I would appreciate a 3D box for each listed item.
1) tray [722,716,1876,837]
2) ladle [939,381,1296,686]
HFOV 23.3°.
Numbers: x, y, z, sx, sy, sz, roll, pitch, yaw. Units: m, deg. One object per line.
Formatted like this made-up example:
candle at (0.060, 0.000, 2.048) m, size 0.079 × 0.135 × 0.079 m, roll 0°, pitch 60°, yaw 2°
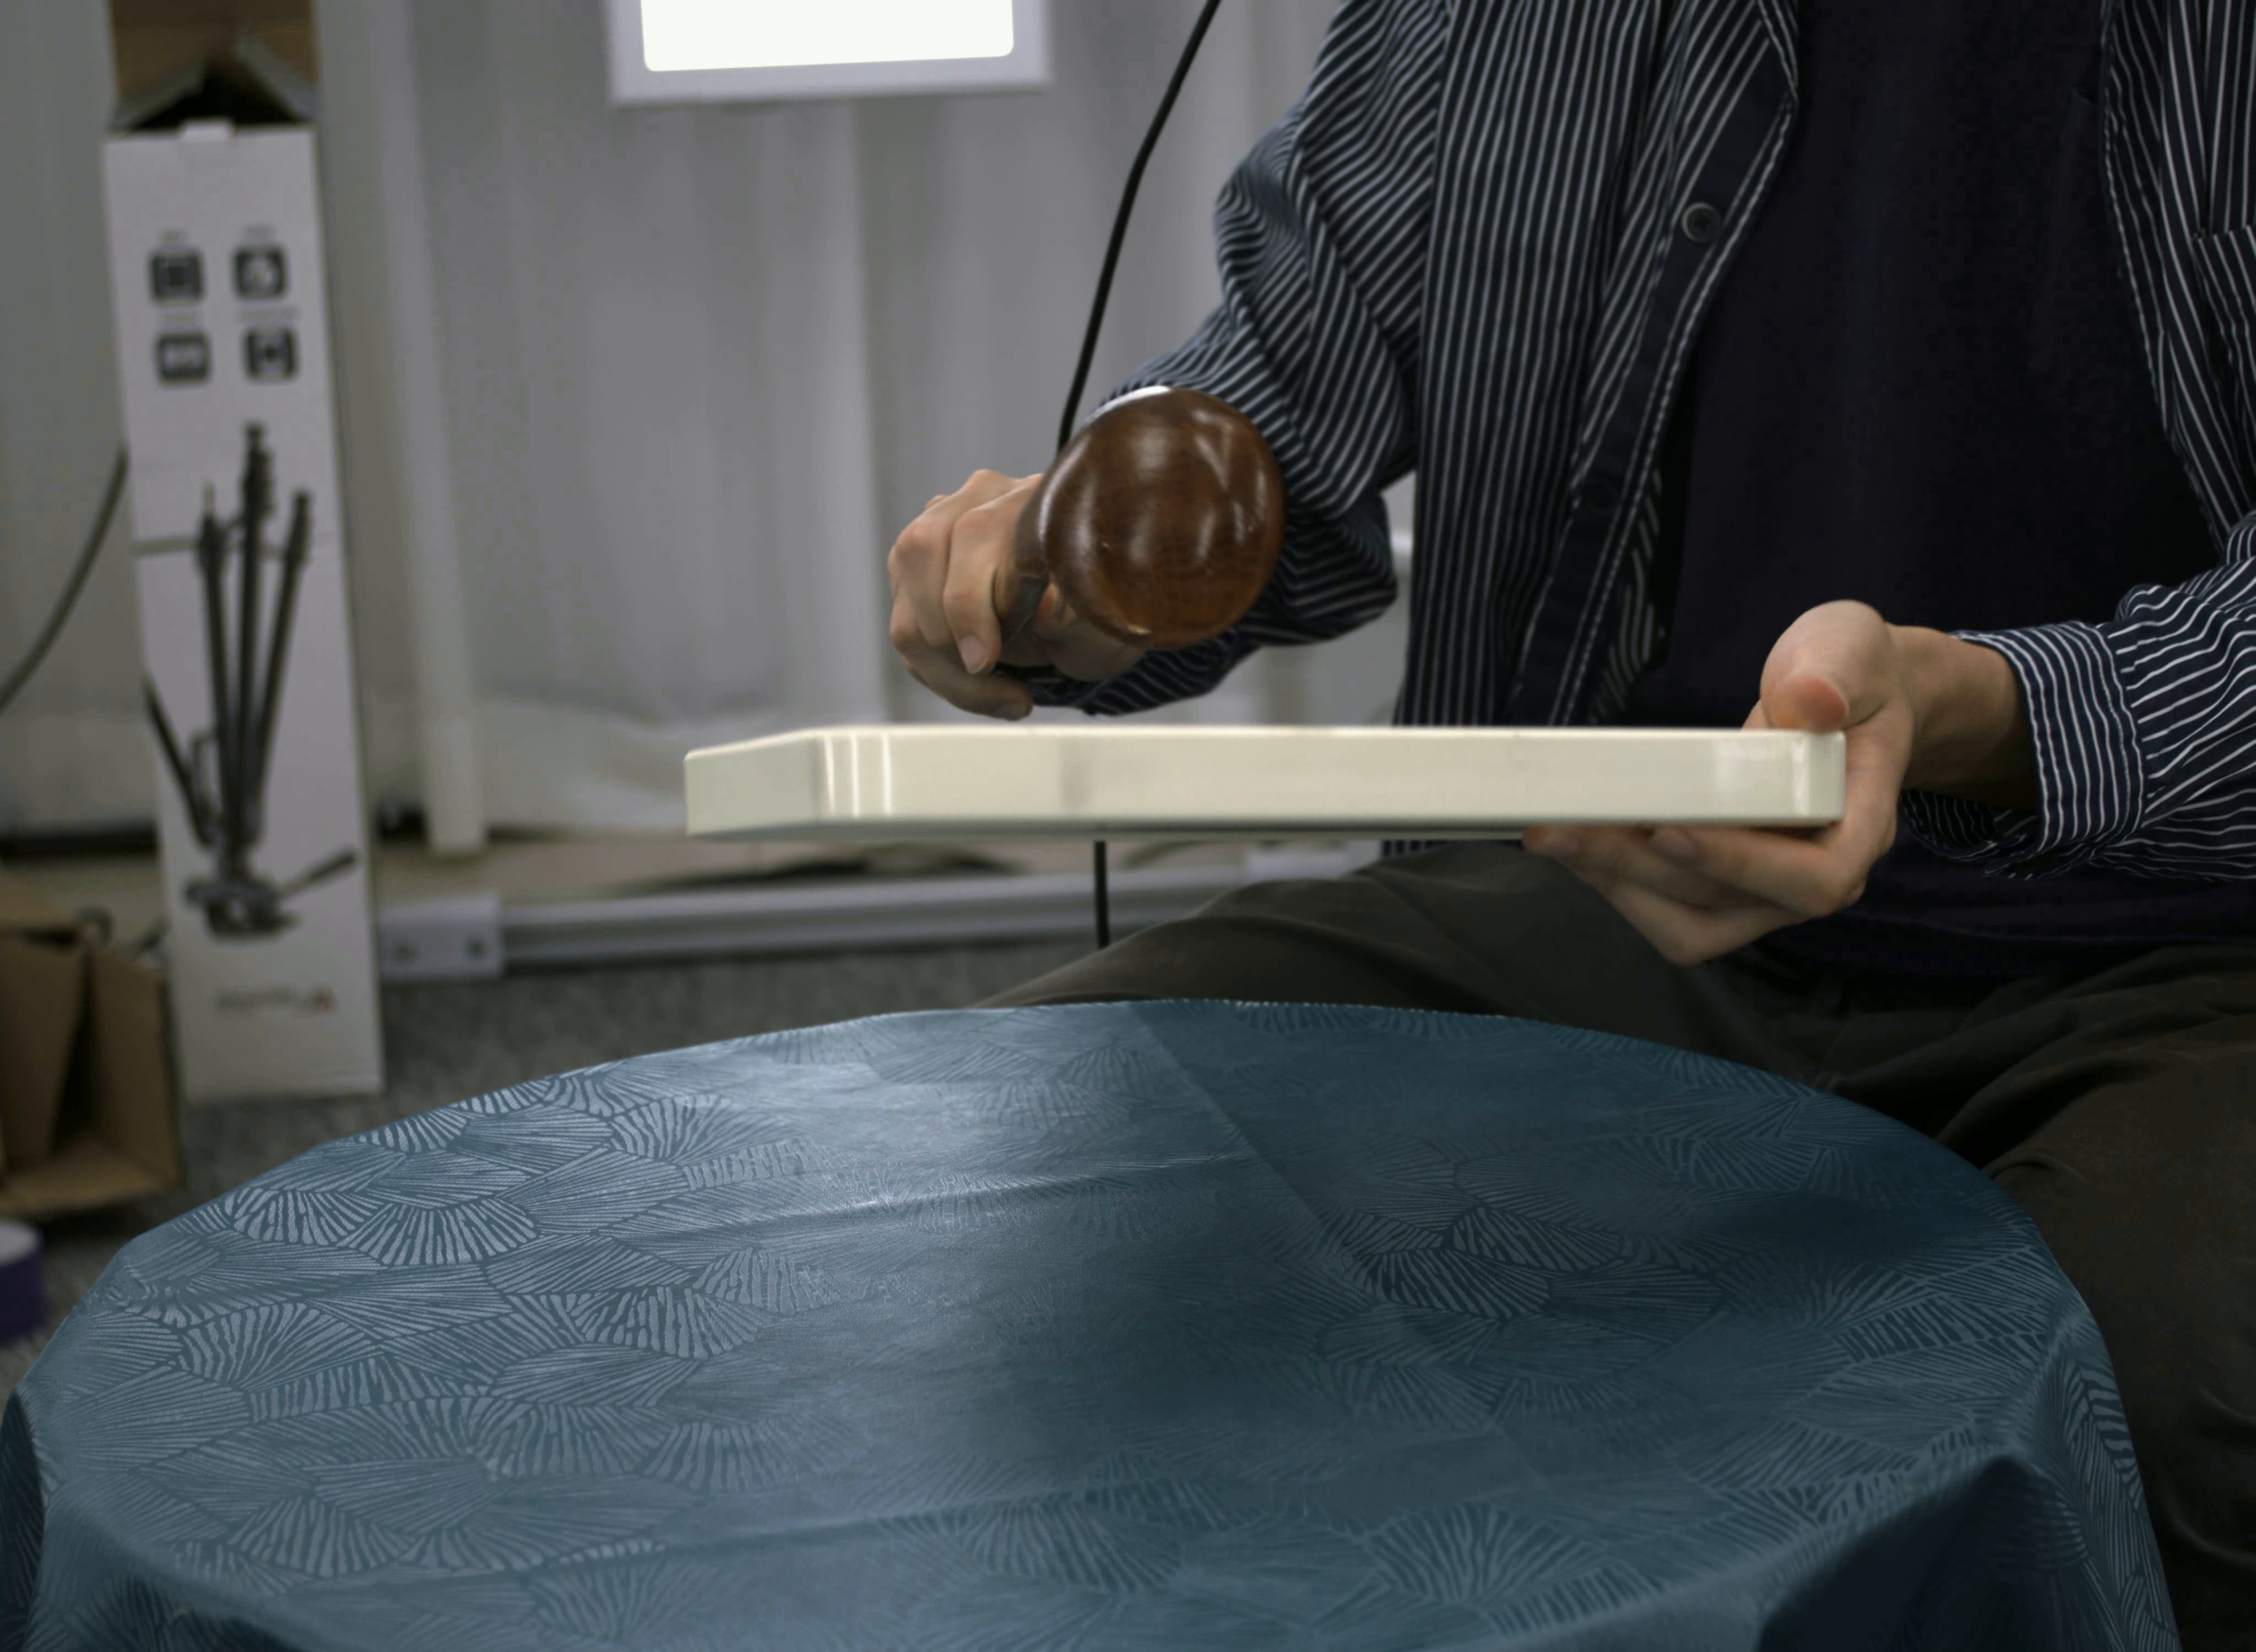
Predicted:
tray at (0.045, -0.012, 1.579) m, size 0.298 × 0.027 × 0.192 m, roll 1°, pitch -2°, yaw -16°
ladle at (-0.006, -0.080, 1.765) m, size 0.076 × 0.082 × 0.273 m, roll 9°, pitch -10°, yaw -8°
